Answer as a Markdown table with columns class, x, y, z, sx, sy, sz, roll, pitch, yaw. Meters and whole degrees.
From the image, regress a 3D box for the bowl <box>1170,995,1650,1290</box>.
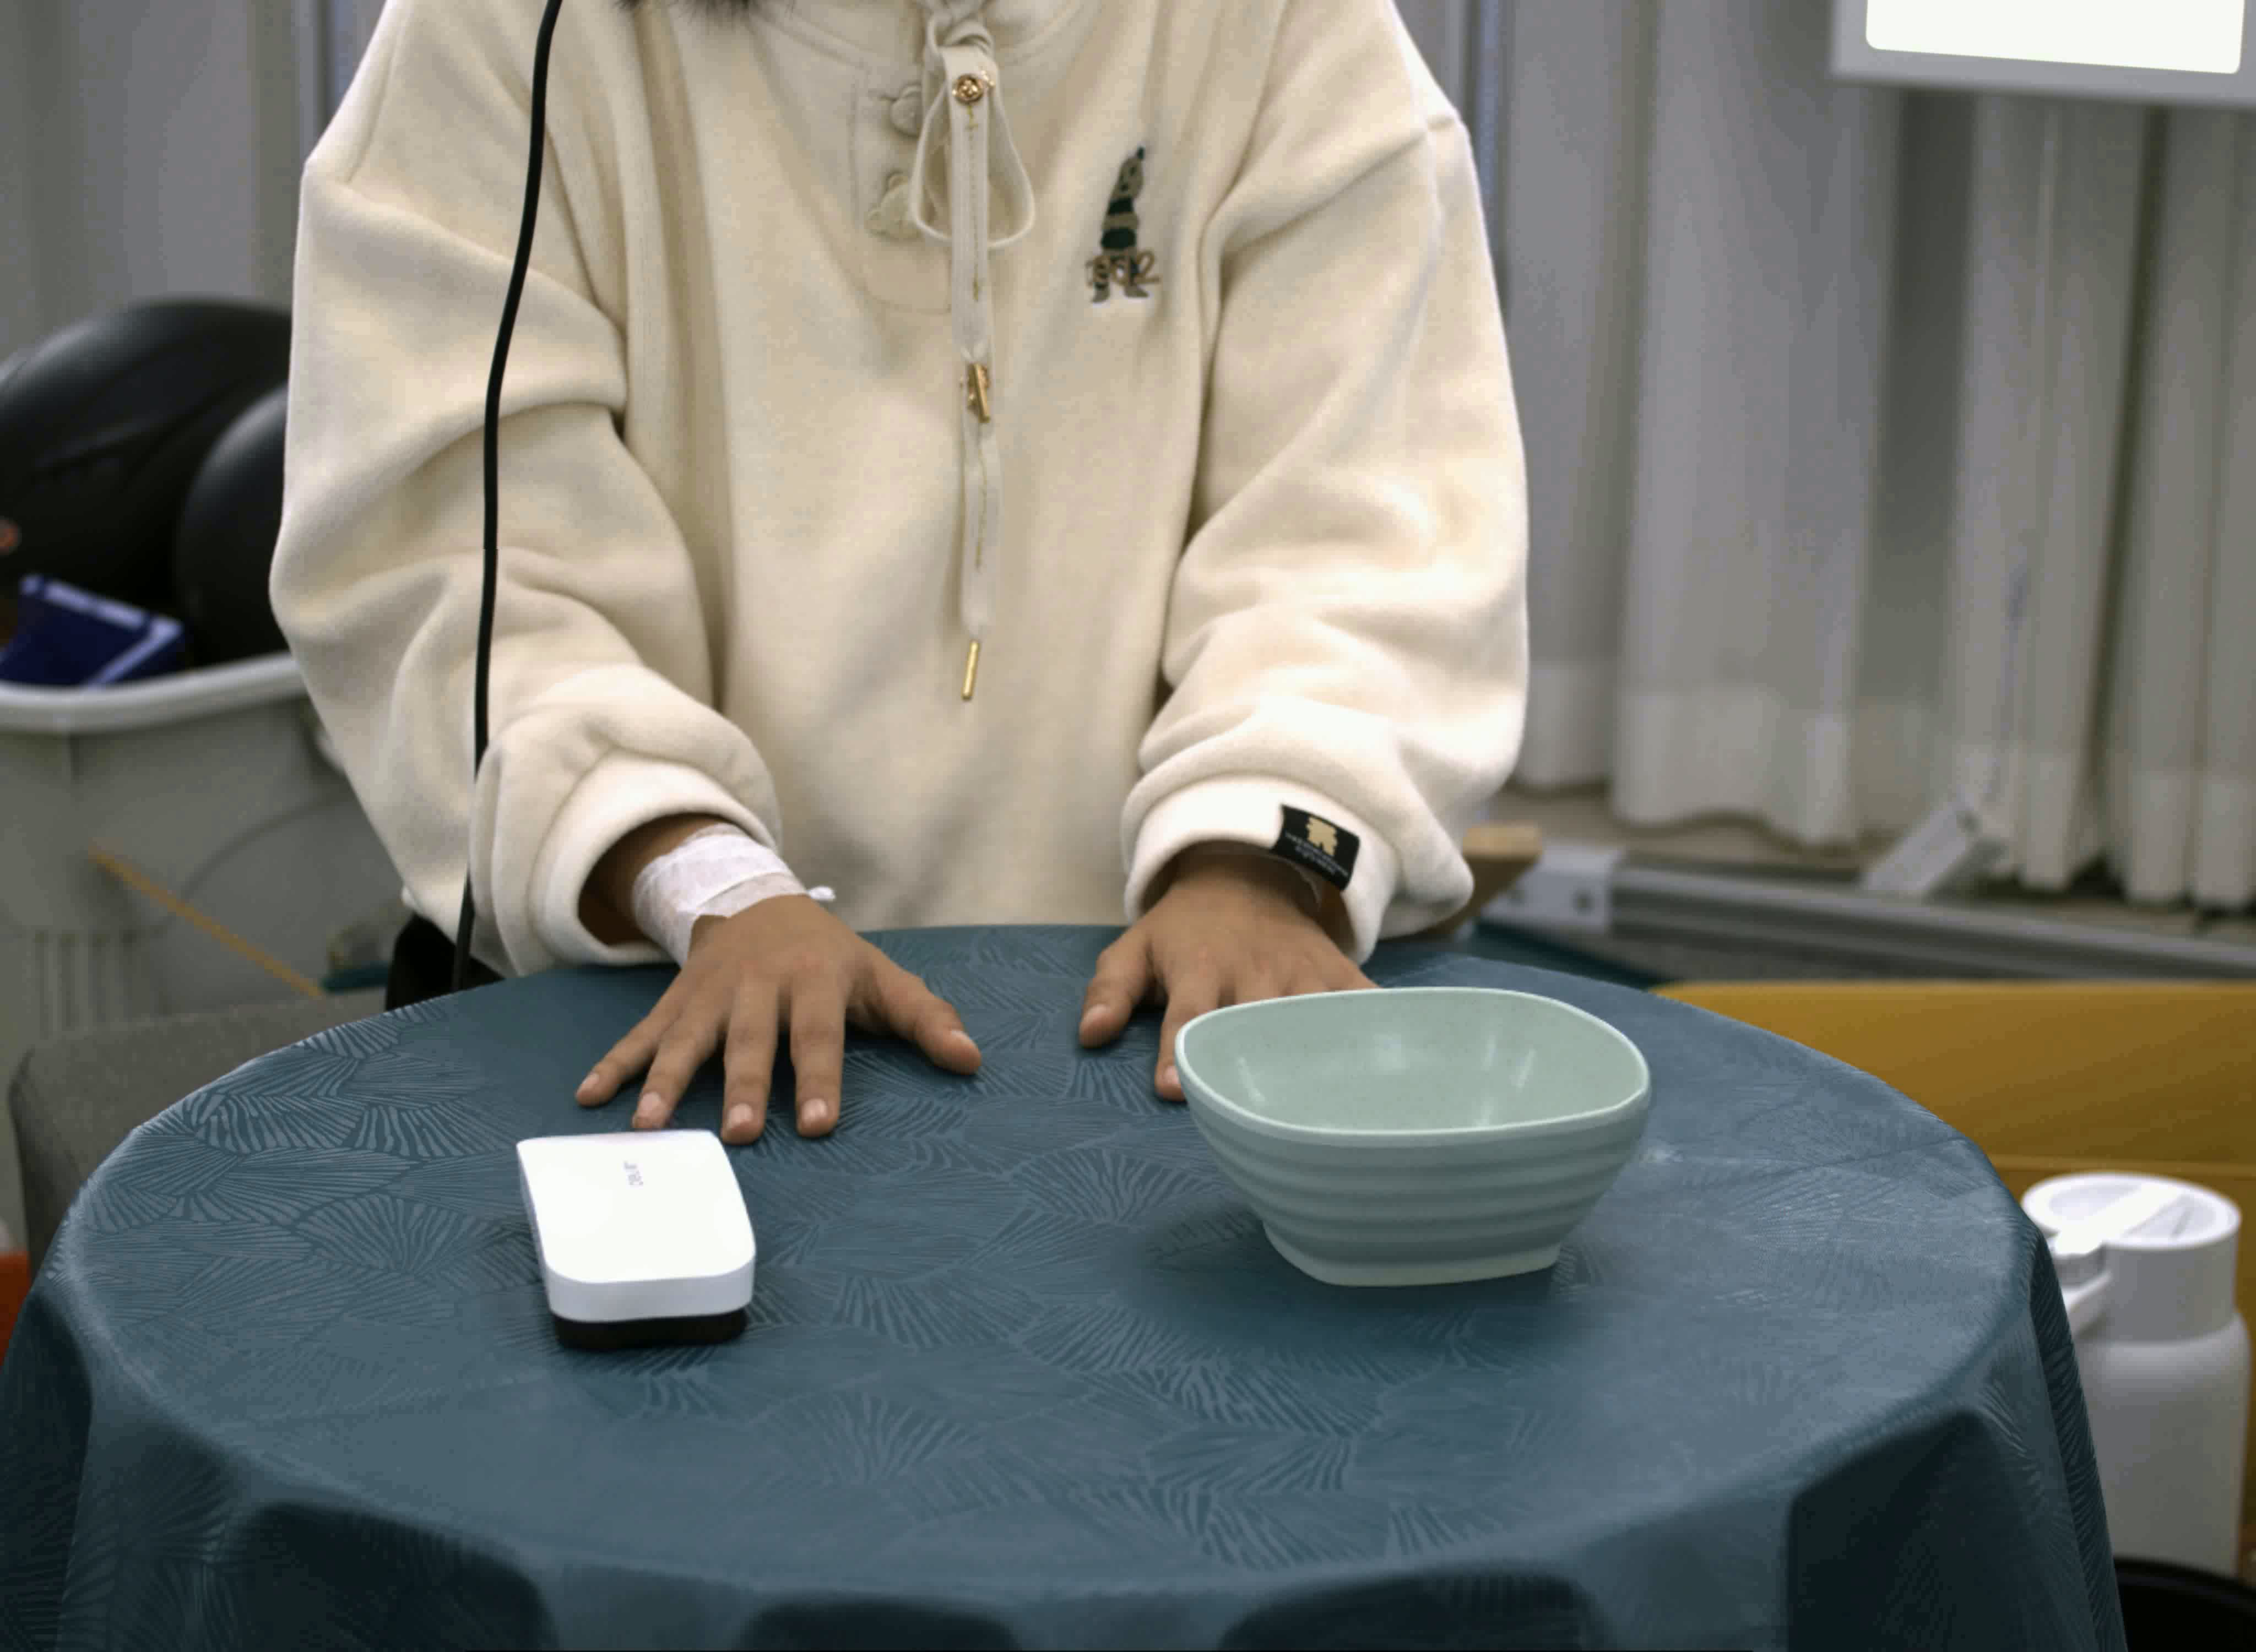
| class | x | y | z | sx | sy | sz | roll | pitch | yaw |
| --- | --- | --- | --- | --- | --- | --- | --- | --- | --- |
| bowl | 0.082 | 0.097 | 1.575 | 0.151 | 0.059 | 0.150 | 2 | 15 | 0 |

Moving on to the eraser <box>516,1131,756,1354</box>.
| class | x | y | z | sx | sy | sz | roll | pitch | yaw |
| --- | --- | --- | --- | --- | --- | --- | --- | --- | --- |
| eraser | -0.144 | 0.117 | 1.542 | 0.063 | 0.035 | 0.130 | -2 | 16 | -10 |
